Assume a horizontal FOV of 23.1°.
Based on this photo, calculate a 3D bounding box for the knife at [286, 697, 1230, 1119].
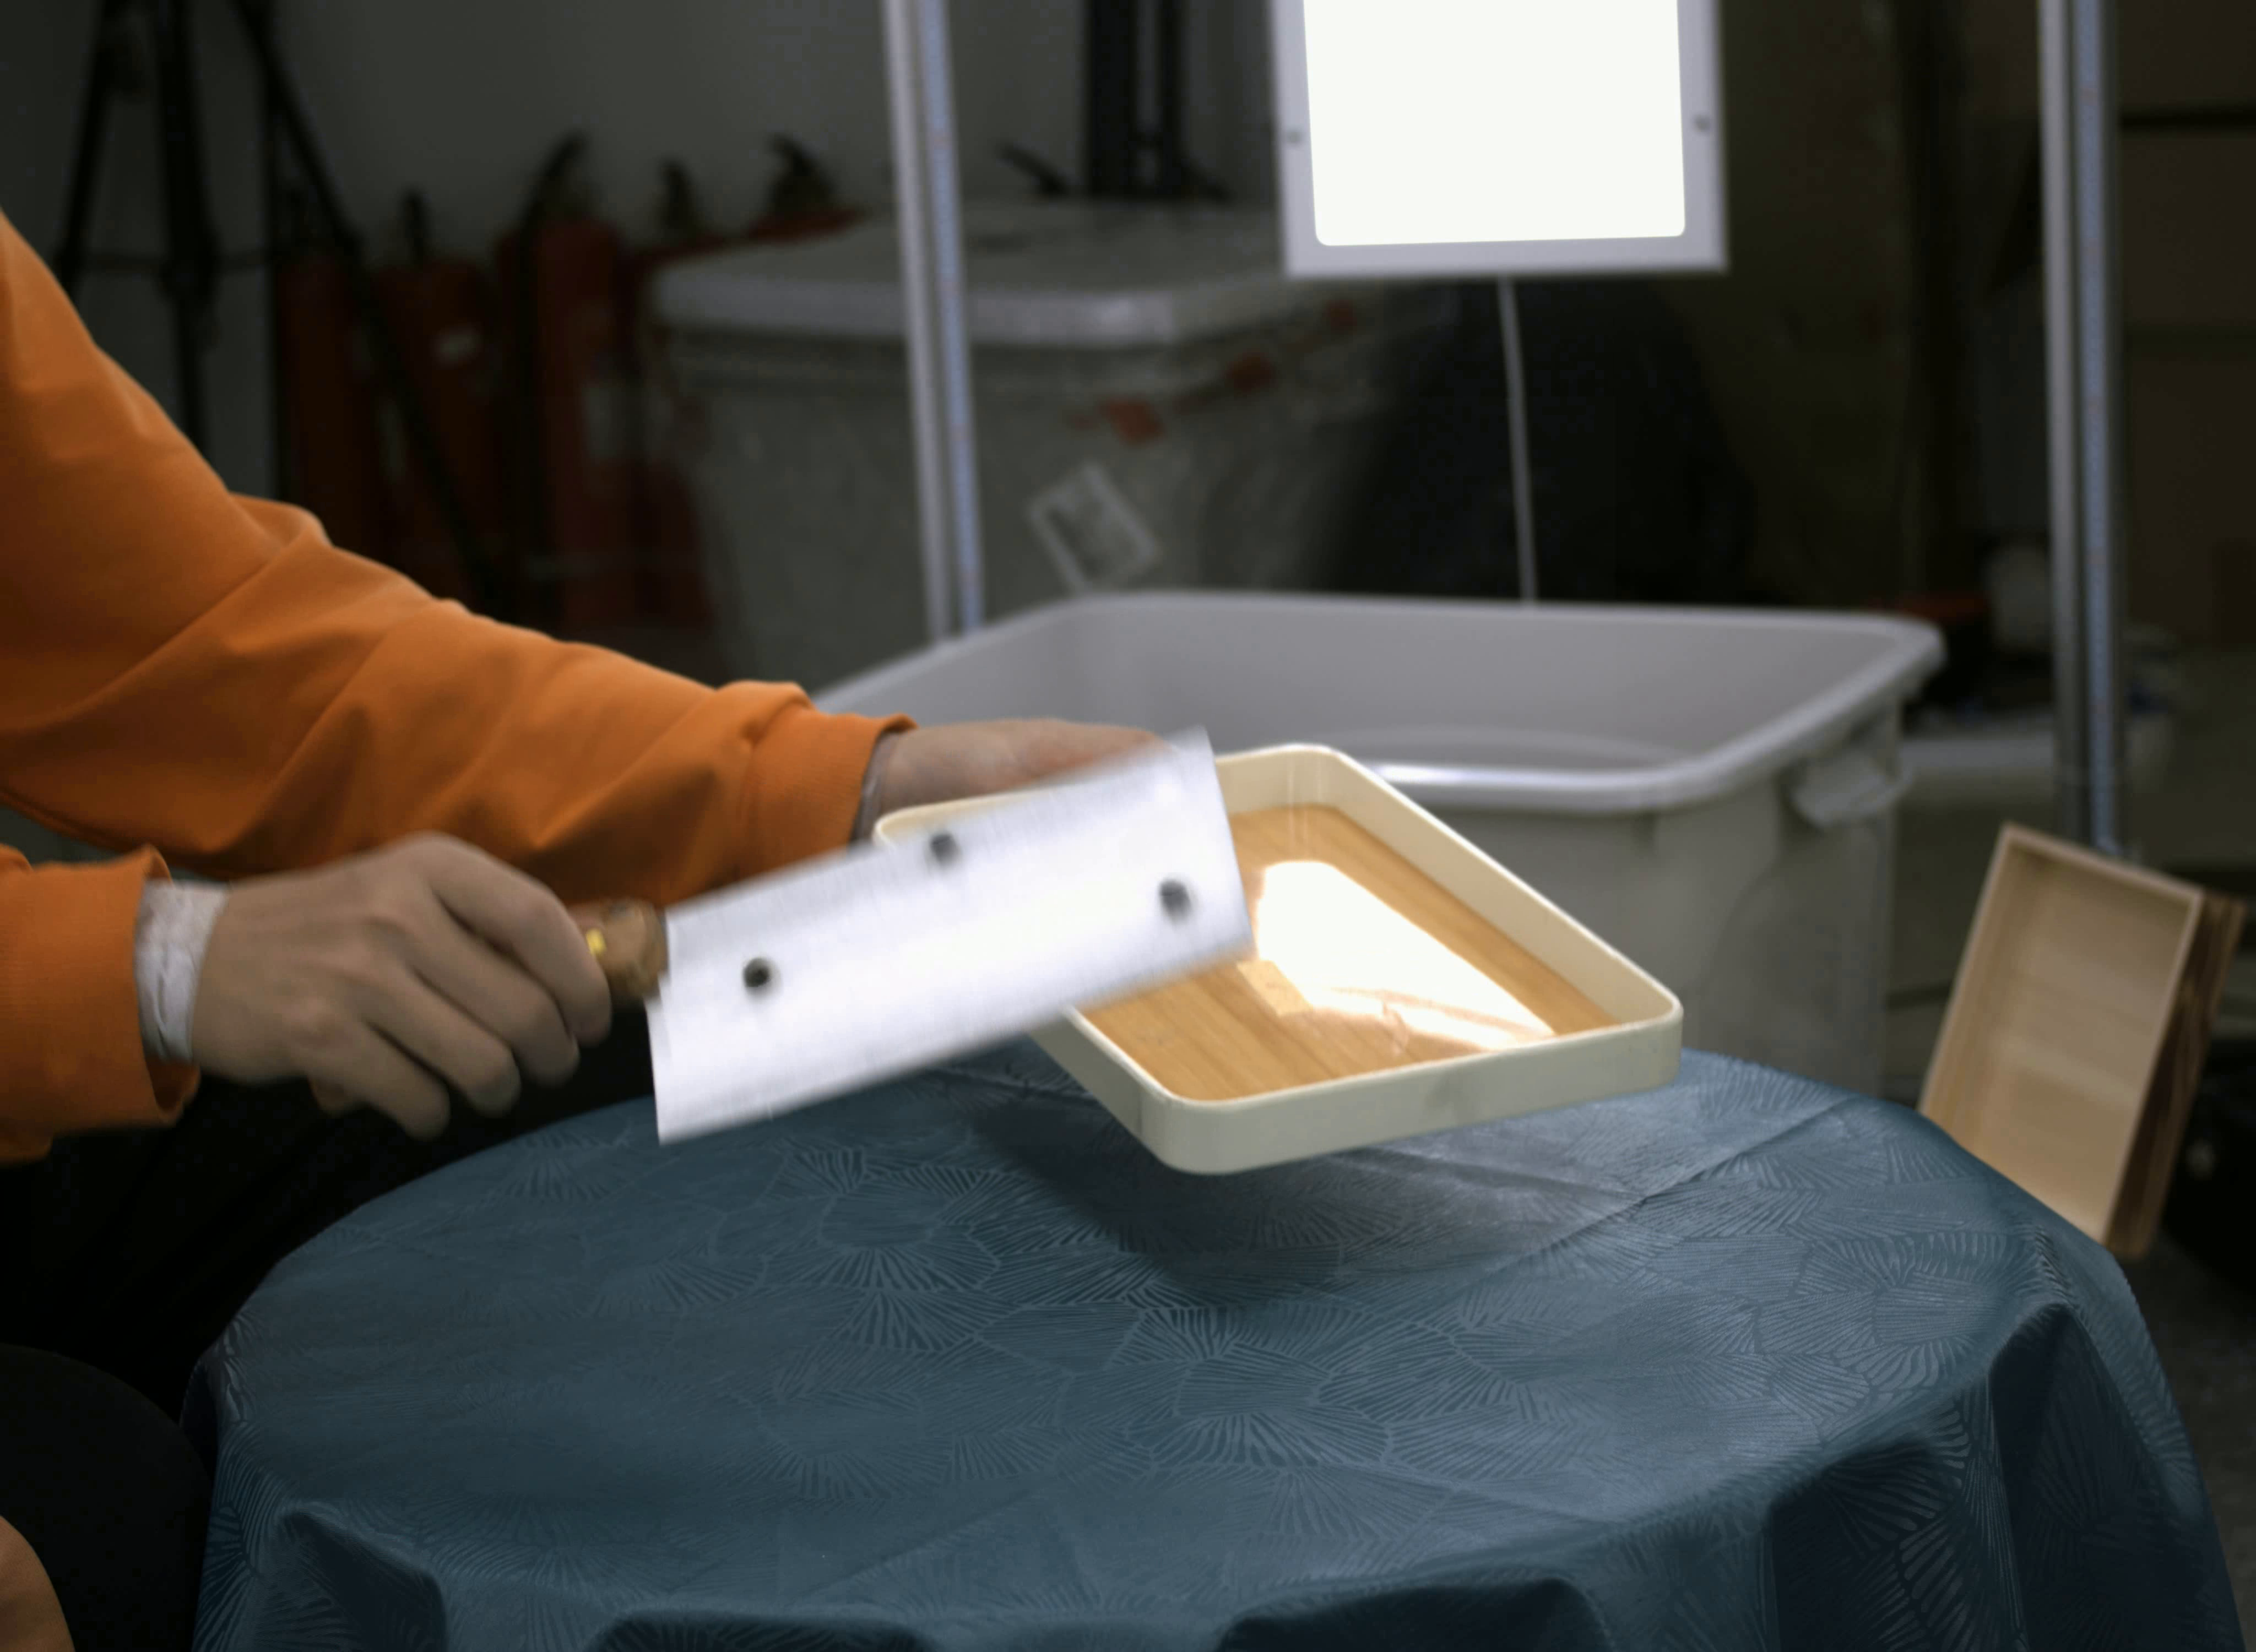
[{"bbox_3d":[-0.114,0.042,1.674,0.308,0.021,0.093,-20,48,11],"label":"knife"}]

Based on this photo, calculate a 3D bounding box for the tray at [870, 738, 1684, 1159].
[{"bbox_3d":[0.046,0.038,1.916,0.188,0.027,0.304,-10,22,-20],"label":"tray"}]
